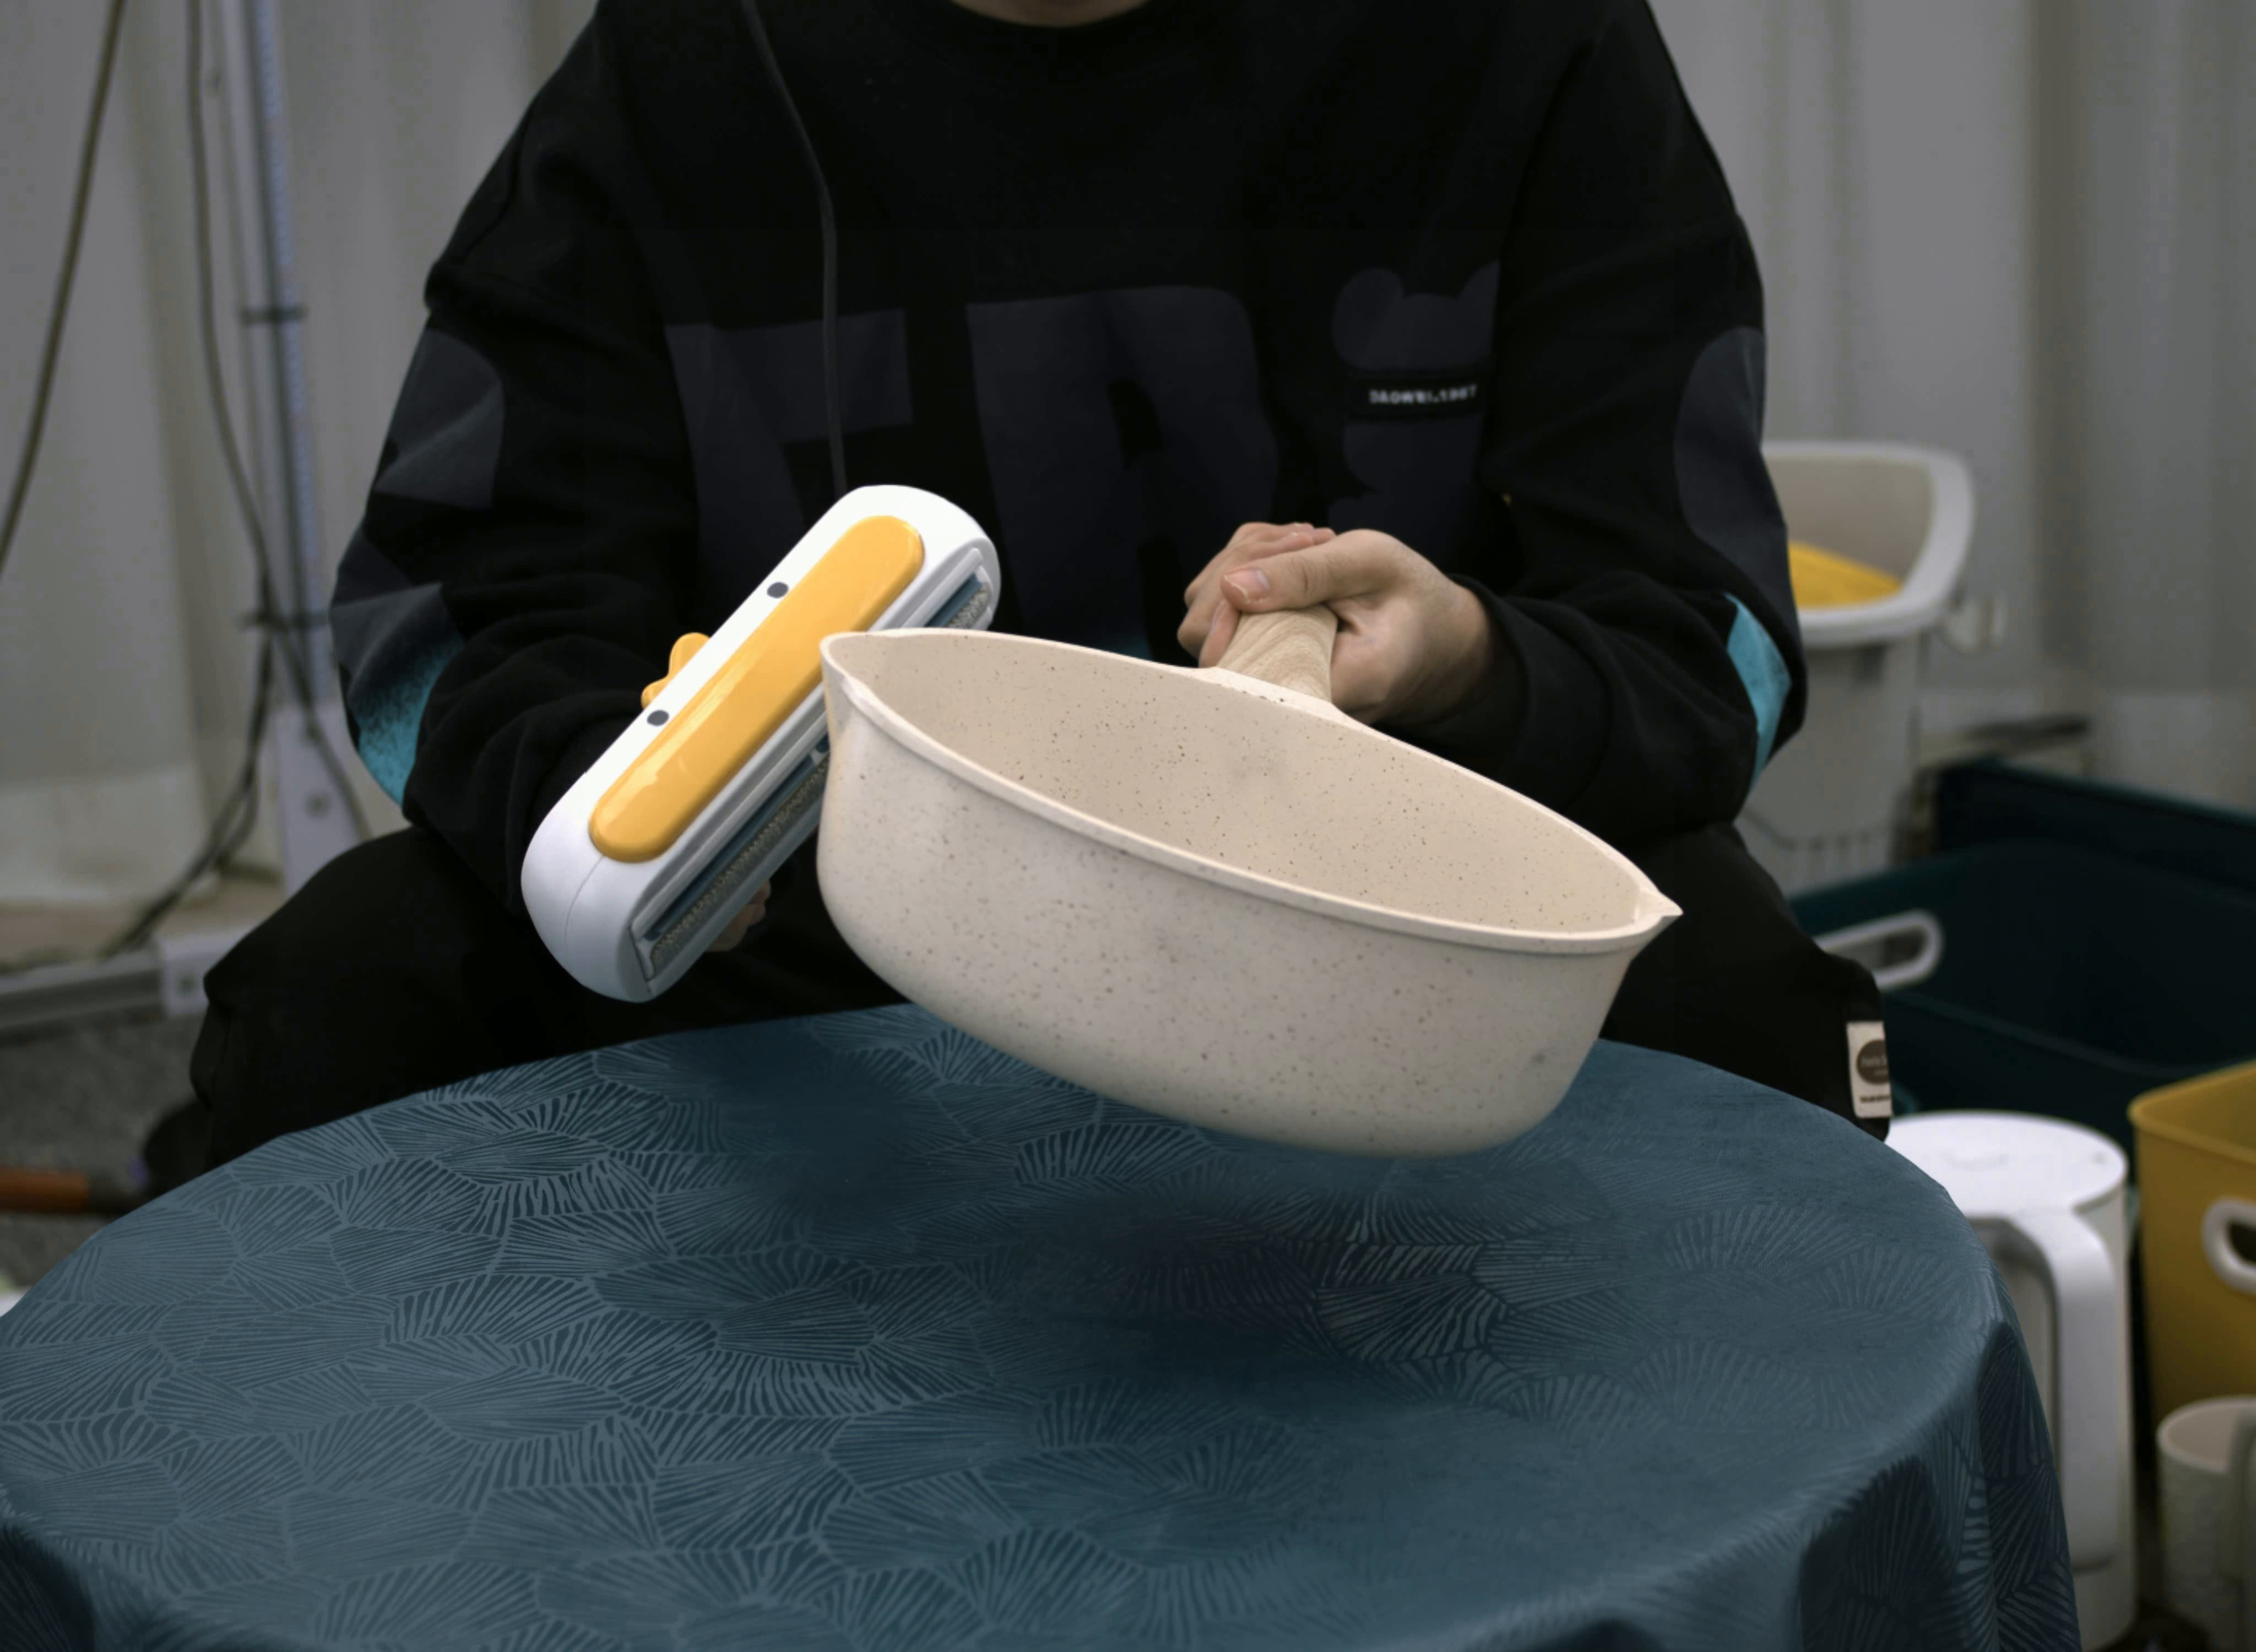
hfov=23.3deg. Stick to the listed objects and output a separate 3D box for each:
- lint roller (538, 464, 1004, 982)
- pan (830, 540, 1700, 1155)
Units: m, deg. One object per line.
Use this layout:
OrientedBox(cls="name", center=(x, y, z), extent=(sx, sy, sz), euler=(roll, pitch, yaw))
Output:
OrientedBox(cls="lint roller", center=(-0.118, -0.008, 1.753), extent=(0.074, 0.190, 0.194), euler=(30, 63, 13))
OrientedBox(cls="pan", center=(0.037, -0.003, 1.688), extent=(0.262, 0.102, 0.437), euler=(15, 13, 0))
